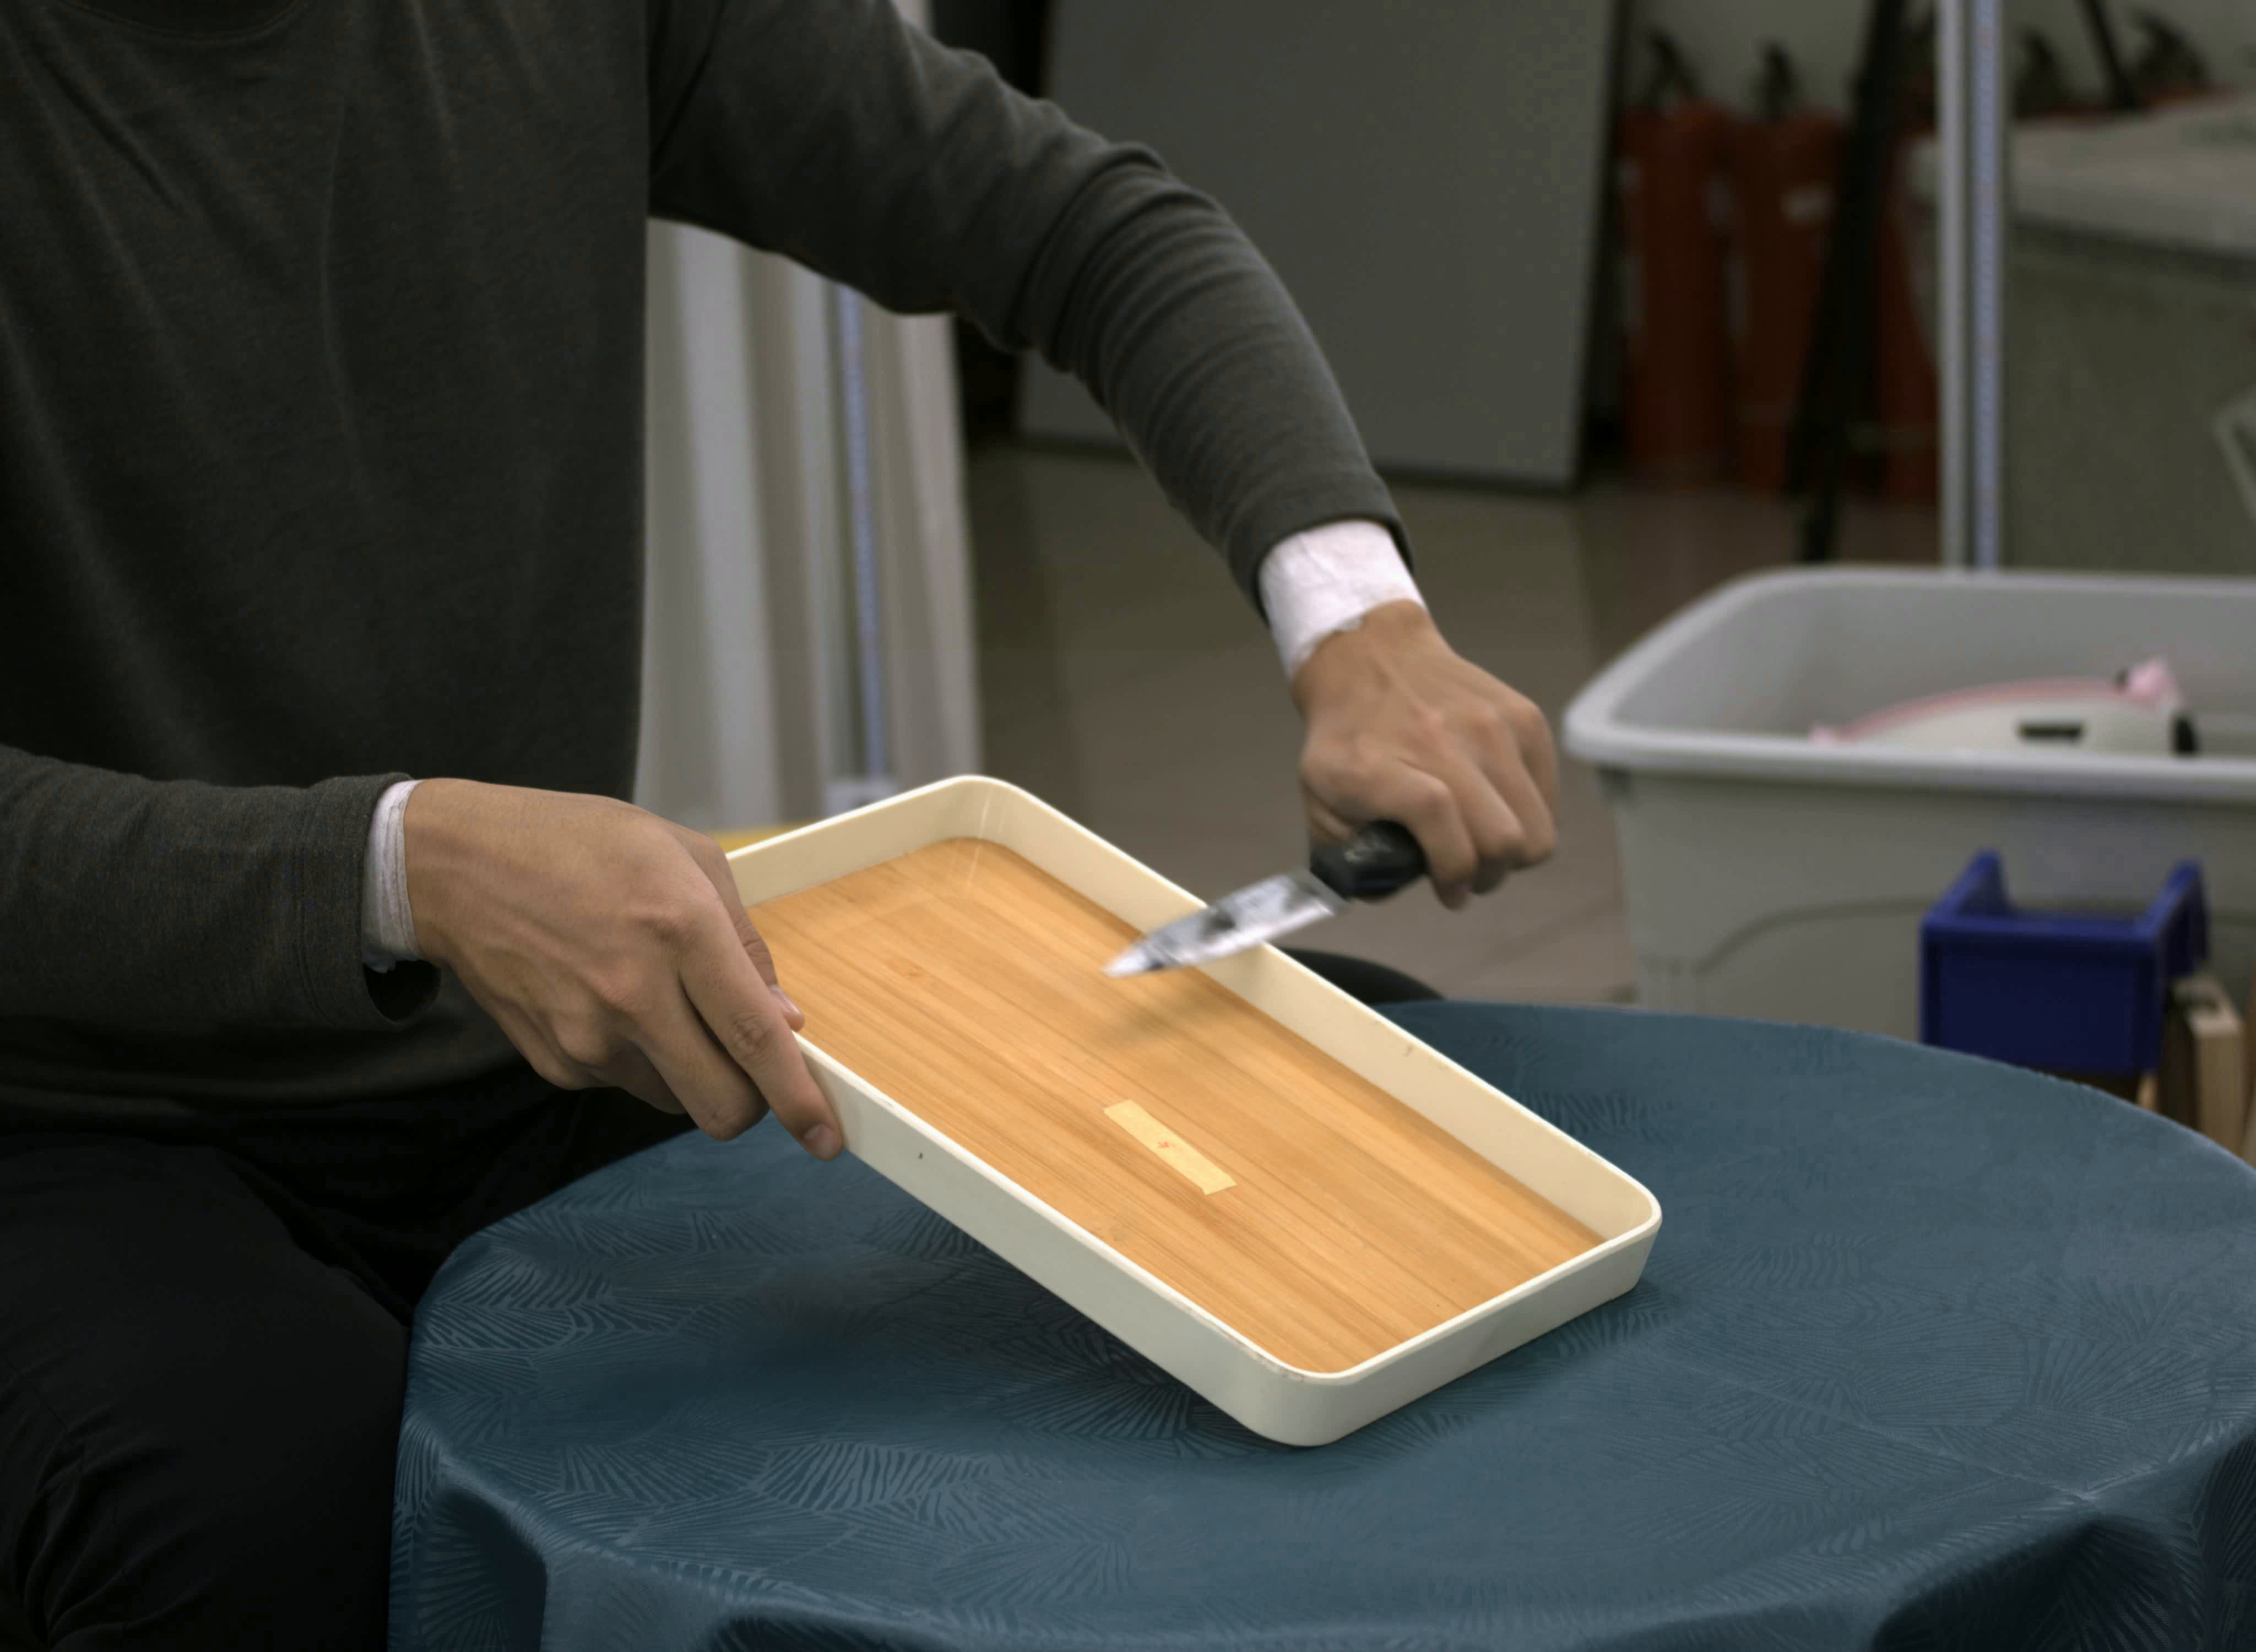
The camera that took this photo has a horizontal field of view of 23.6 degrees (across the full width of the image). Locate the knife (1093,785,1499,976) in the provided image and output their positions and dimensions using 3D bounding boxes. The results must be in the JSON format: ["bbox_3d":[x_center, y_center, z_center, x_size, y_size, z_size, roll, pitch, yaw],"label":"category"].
[{"bbox_3d":[0.055,0.018,1.775,0.024,0.016,0.234,35,31,24],"label":"knife"}]

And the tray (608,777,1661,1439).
[{"bbox_3d":[0.001,0.080,1.660,0.303,0.028,0.188,32,31,31],"label":"tray"}]
